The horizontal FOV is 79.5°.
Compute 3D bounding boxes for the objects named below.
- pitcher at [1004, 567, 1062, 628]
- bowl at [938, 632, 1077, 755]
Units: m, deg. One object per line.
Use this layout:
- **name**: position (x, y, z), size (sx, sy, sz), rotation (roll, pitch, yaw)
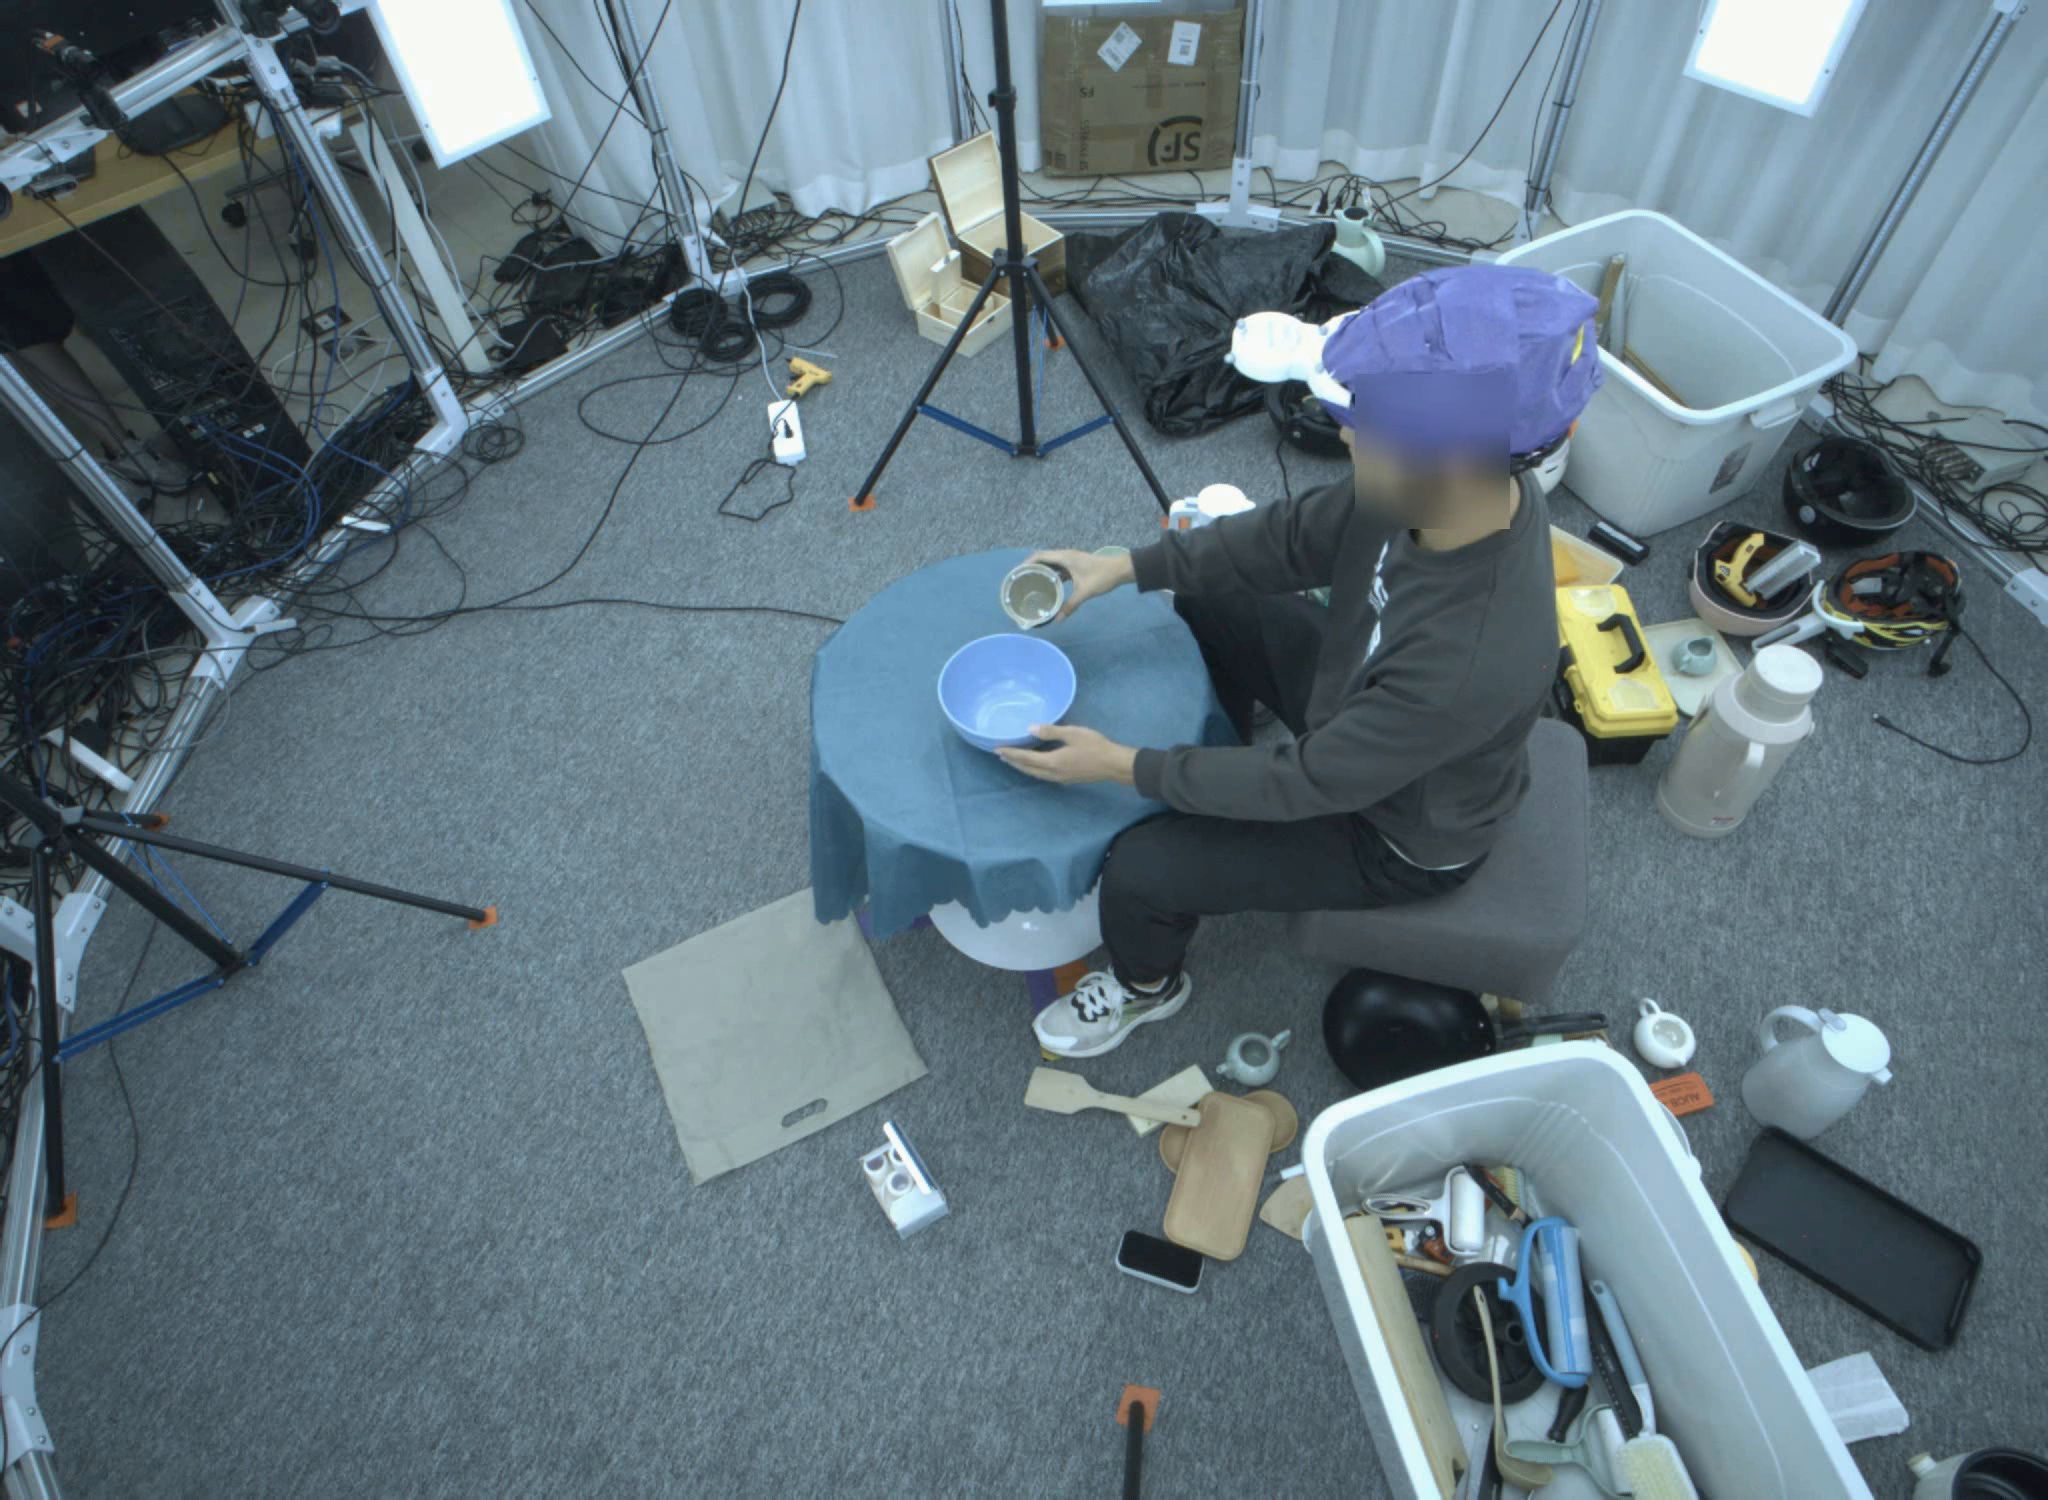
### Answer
- **pitcher**: position (0.014, -0.216, 1.814), size (0.083, 0.072, 0.096), rotation (11, 80, 6)
- **bowl**: position (-0.022, -0.065, 1.776), size (0.196, 0.096, 0.194), rotation (1, 54, 0)
